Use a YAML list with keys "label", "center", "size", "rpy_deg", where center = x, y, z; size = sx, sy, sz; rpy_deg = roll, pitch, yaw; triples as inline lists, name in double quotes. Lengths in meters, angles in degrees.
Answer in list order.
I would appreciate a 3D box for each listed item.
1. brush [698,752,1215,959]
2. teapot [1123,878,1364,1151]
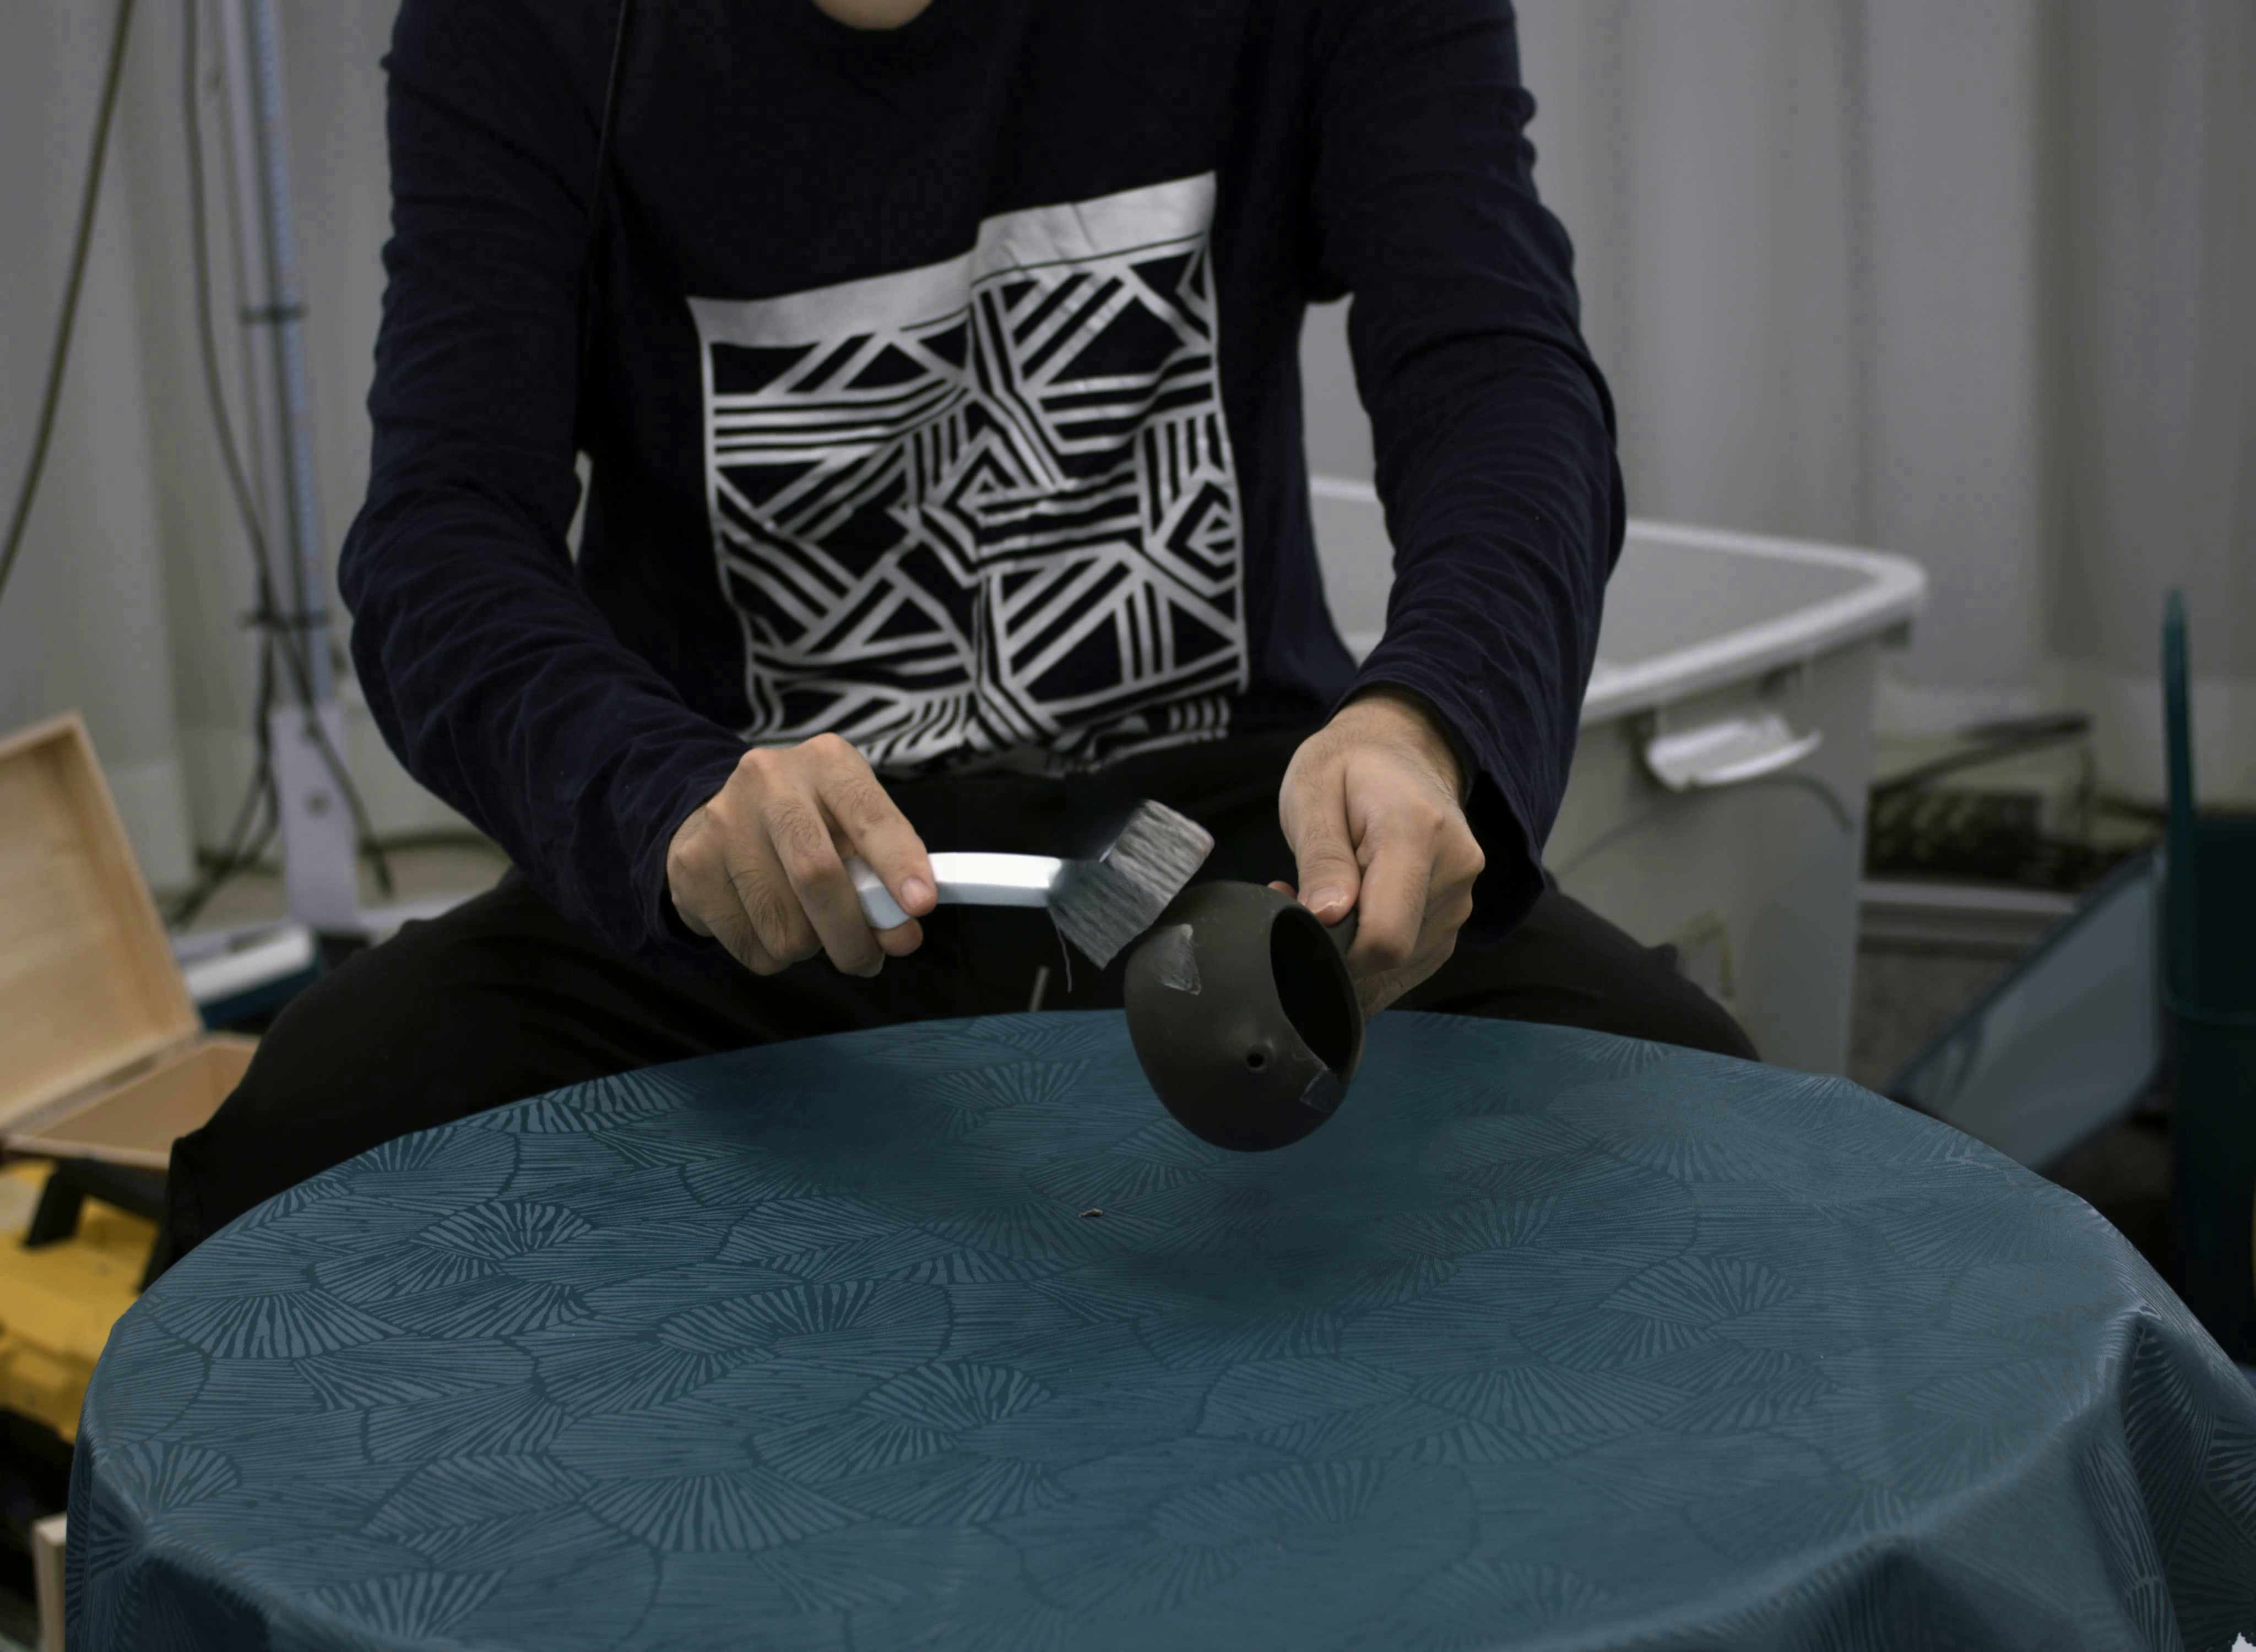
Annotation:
- label: "brush"
  center: [-0.054, 0.025, 1.709]
  size: [0.243, 0.050, 0.035]
  rpy_deg: [-19, 32, 52]
- label: "teapot"
  center: [0.039, 0.050, 1.642]
  size: [0.053, 0.082, 0.115]
  rpy_deg: [-23, 14, 30]
